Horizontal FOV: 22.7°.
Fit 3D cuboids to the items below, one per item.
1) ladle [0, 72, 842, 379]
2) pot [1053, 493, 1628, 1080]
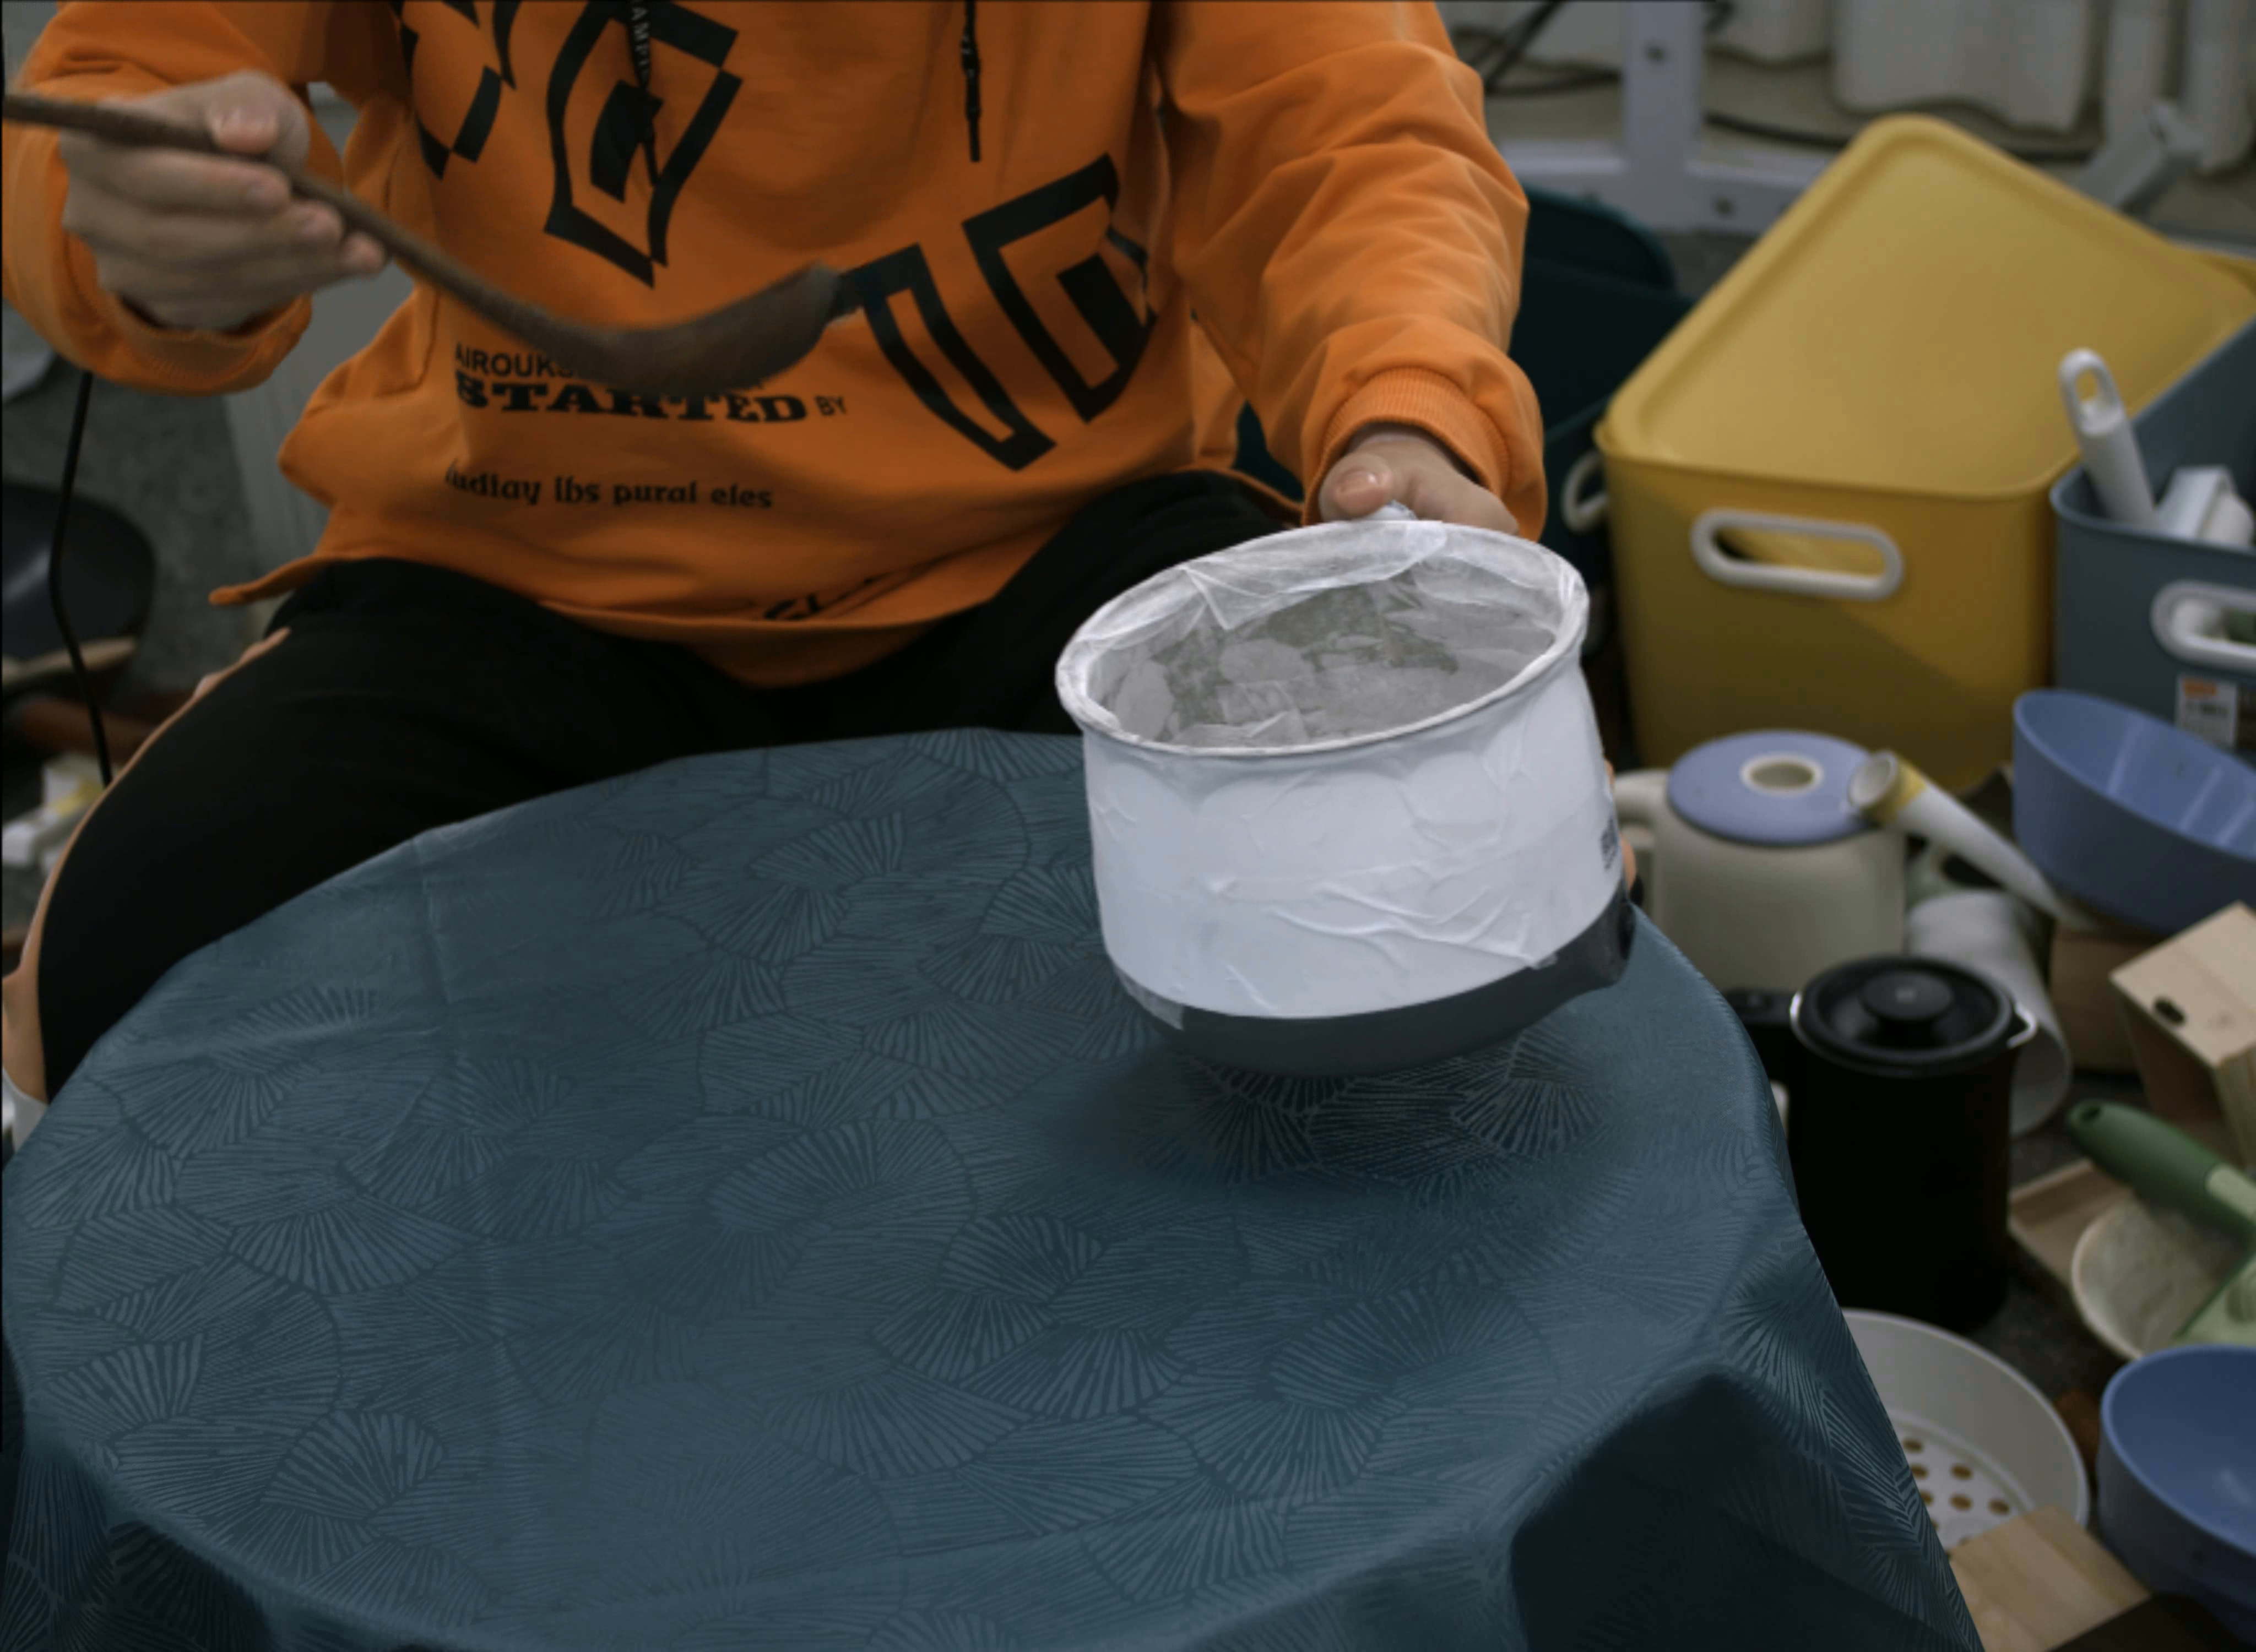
[{"bbox_3d":[-0.225,-0.210,1.804,0.273,0.071,0.076,24,4,-5],"label":"ladle"},{"bbox_3d":[0.077,-0.020,1.897,0.177,0.135,0.237,-3,26,14],"label":"pot"}]
